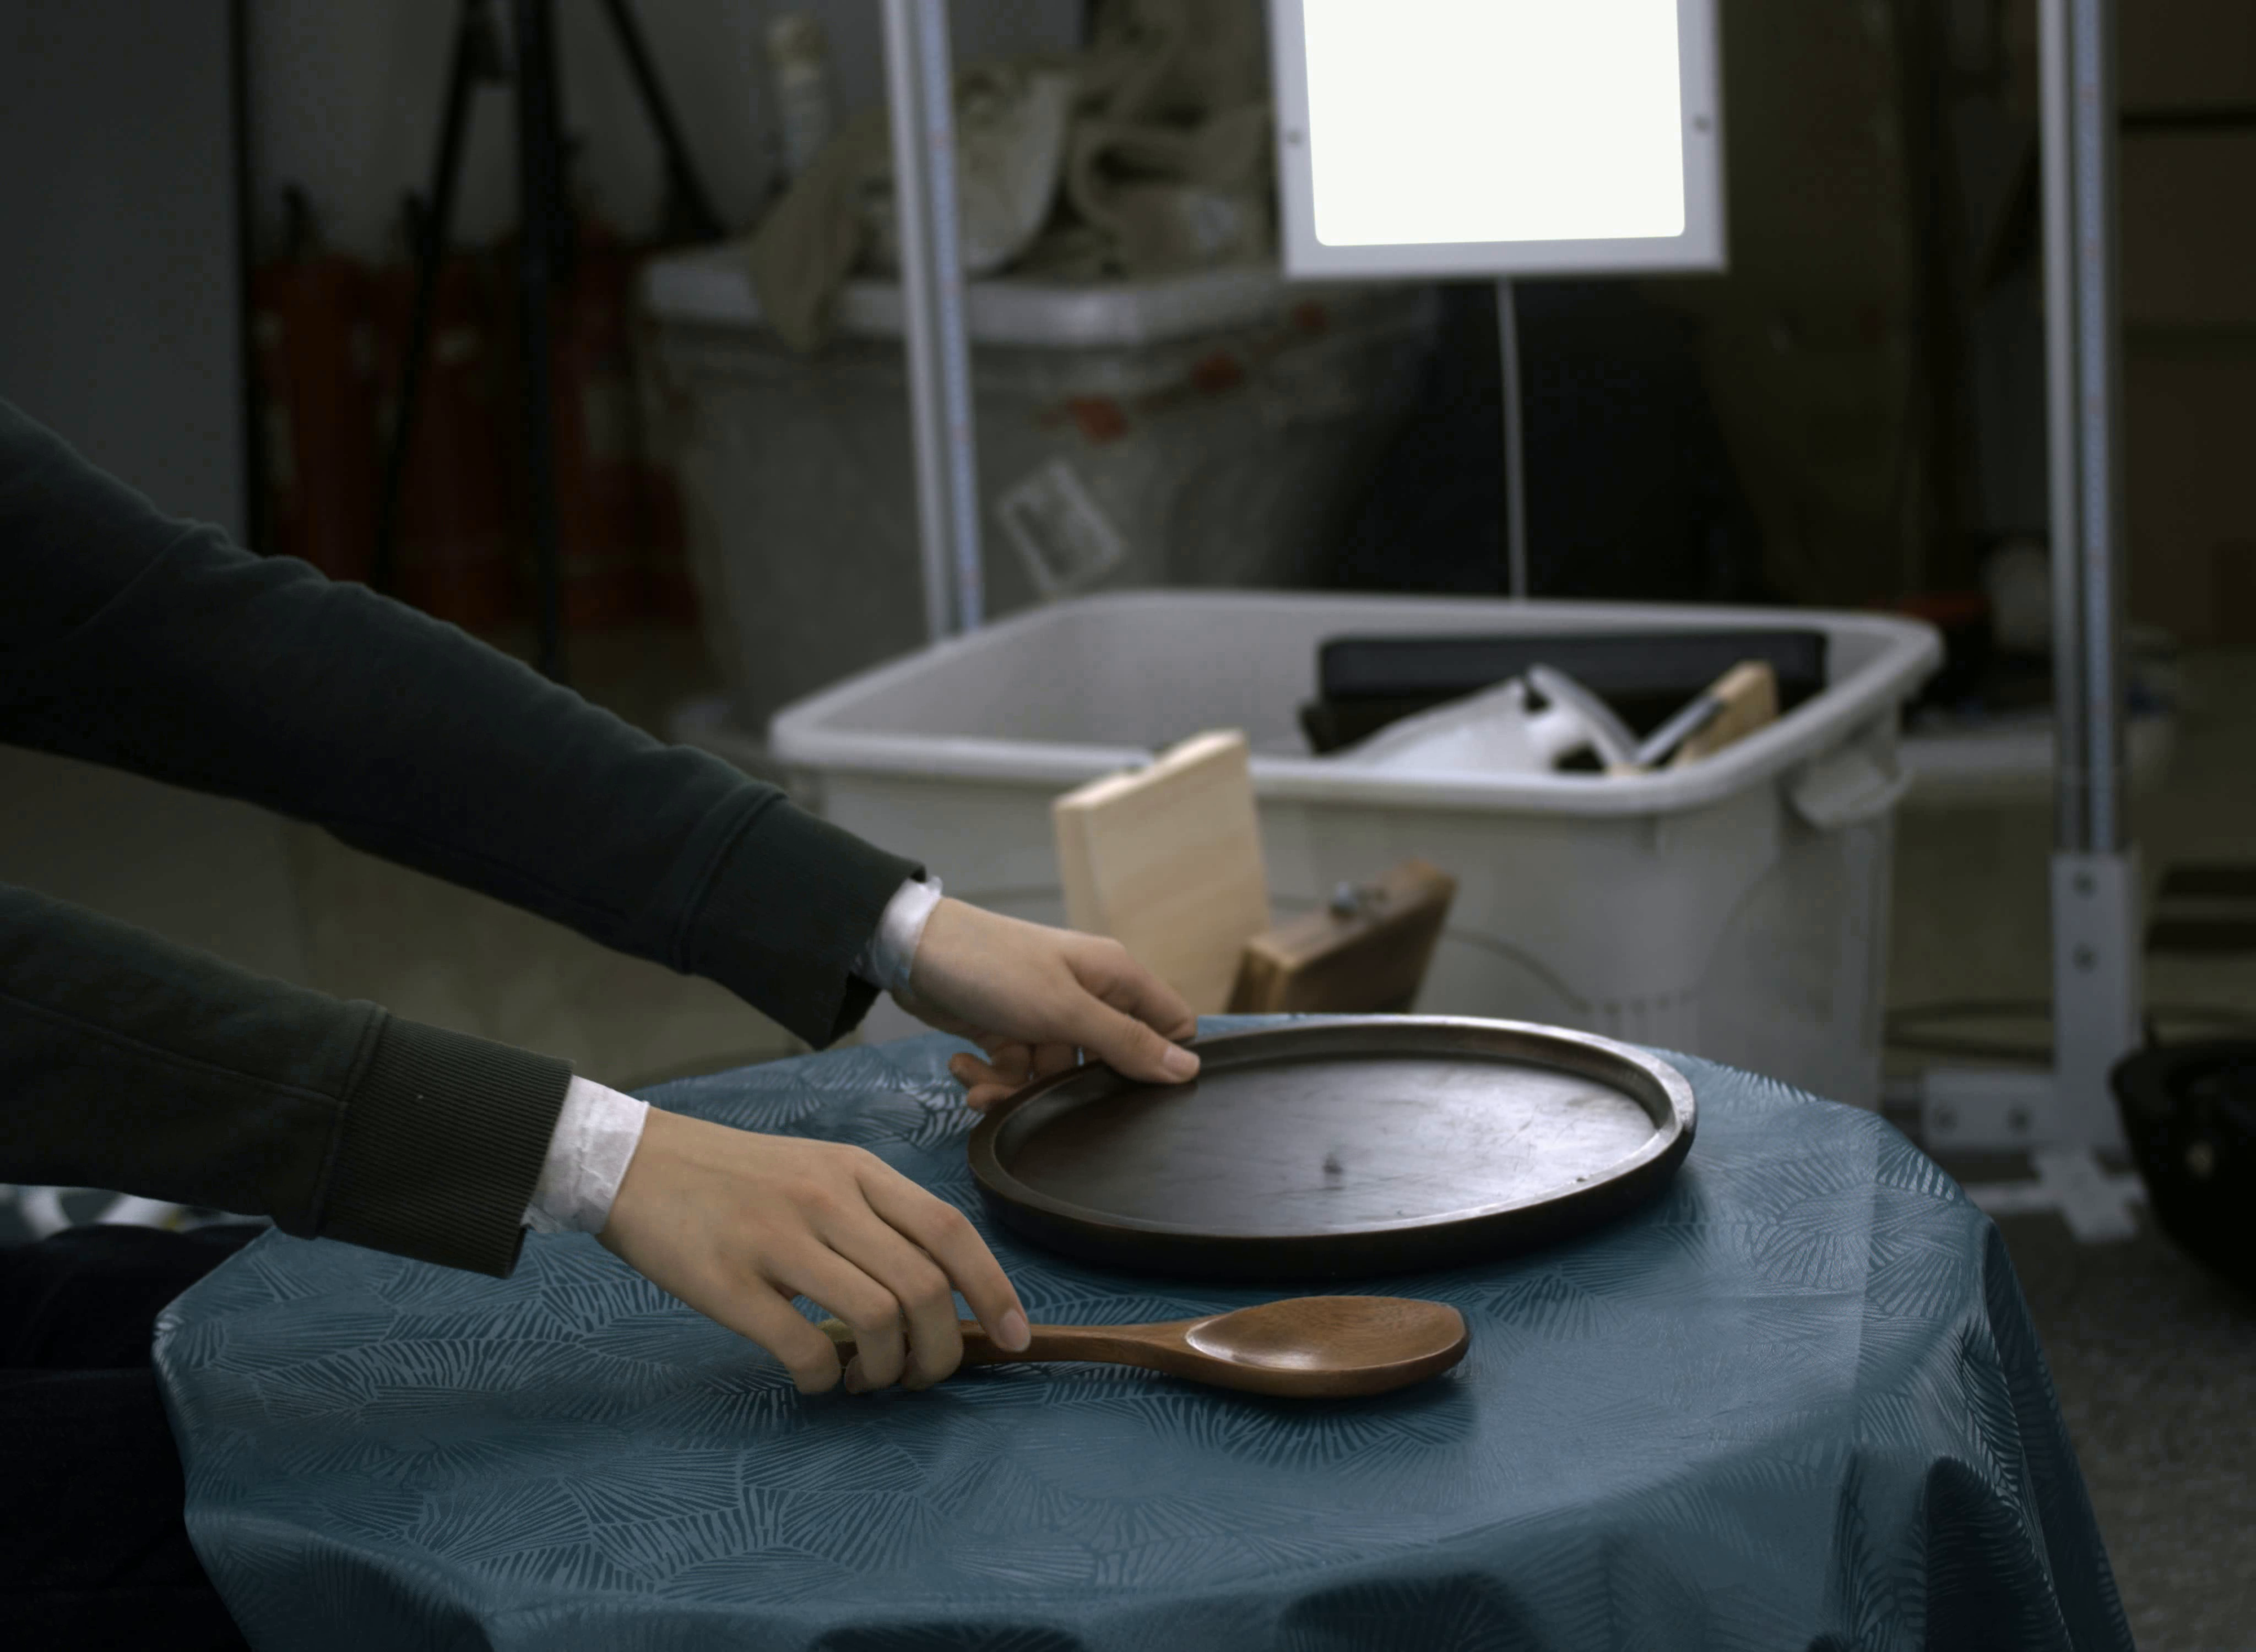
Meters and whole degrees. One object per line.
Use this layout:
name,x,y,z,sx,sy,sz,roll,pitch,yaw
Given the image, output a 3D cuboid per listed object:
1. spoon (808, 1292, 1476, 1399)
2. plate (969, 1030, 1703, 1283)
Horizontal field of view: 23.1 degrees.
spoon,0.003,0.162,1.715,0.218,0.017,0.074,0,15,19
plate,0.071,0.111,1.890,0.254,0.029,0.254,-4,13,0
